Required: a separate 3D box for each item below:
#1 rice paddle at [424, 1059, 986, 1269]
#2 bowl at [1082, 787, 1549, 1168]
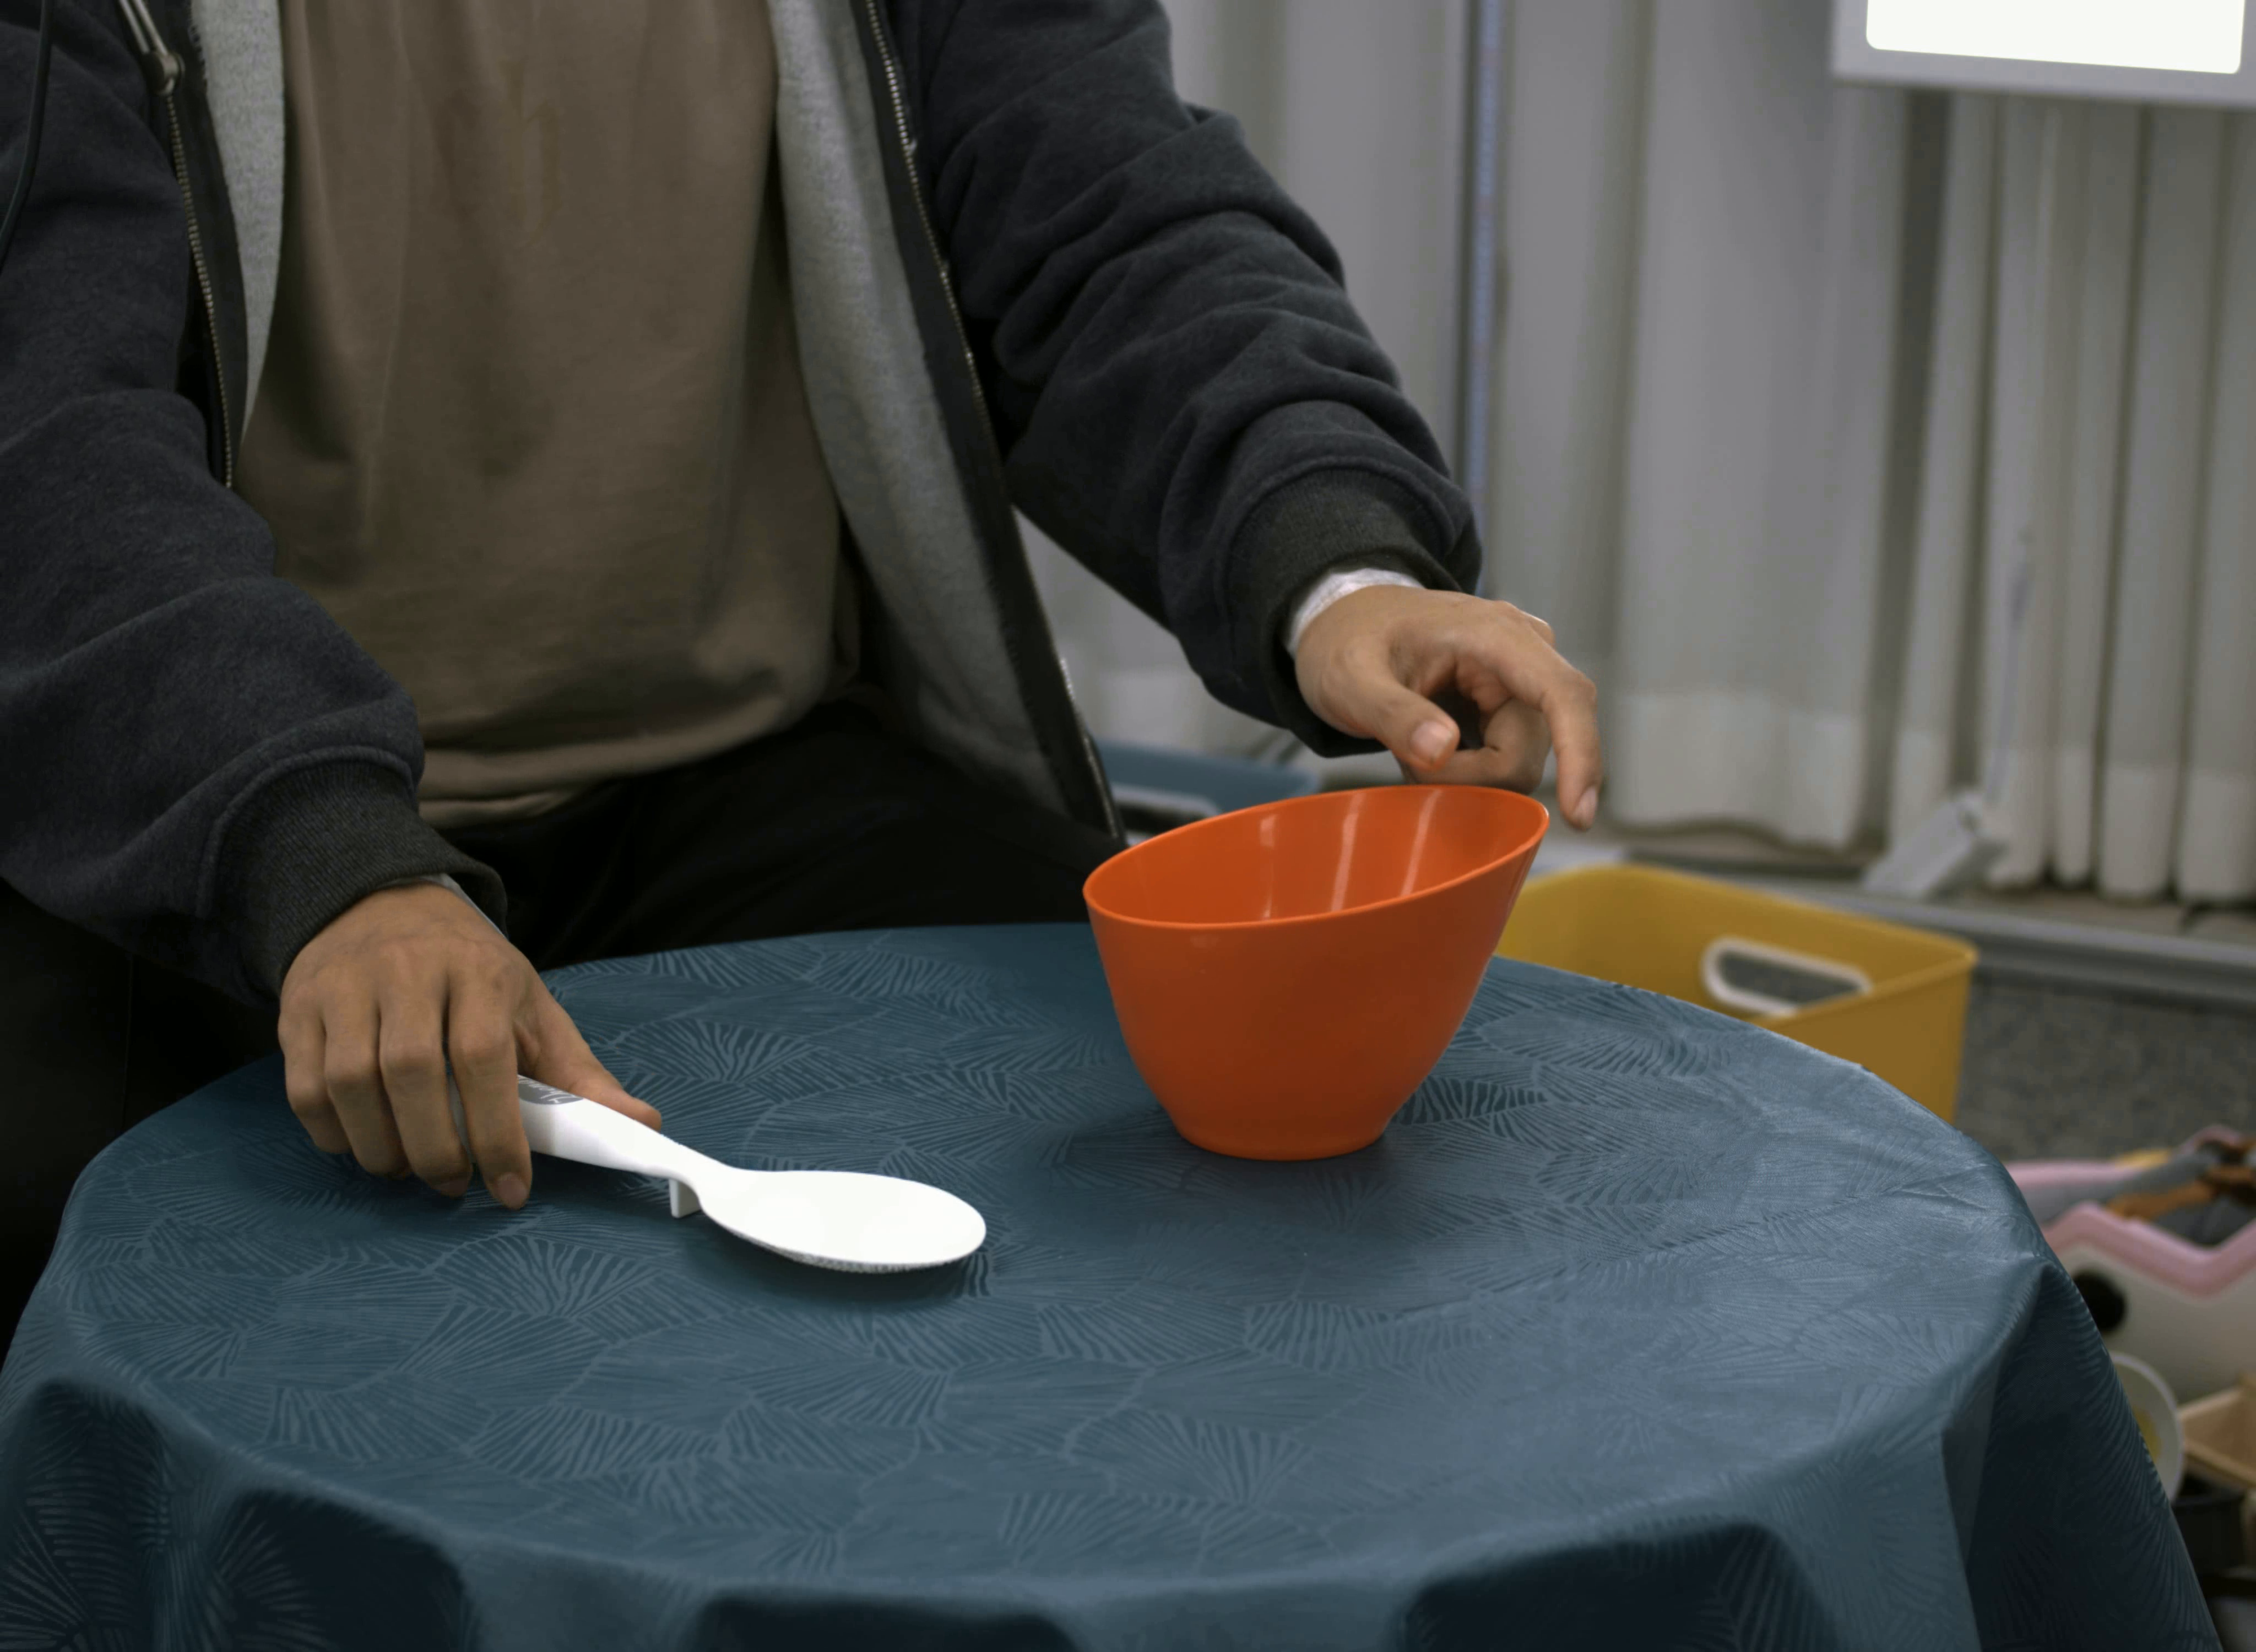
[{"bbox_3d":[-0.129,0.104,1.592,0.202,0.029,0.069,12,20,35],"label":"rice paddle"},{"bbox_3d":[0.059,0.049,1.664,0.147,0.105,0.147,-1,17,1],"label":"bowl"}]
